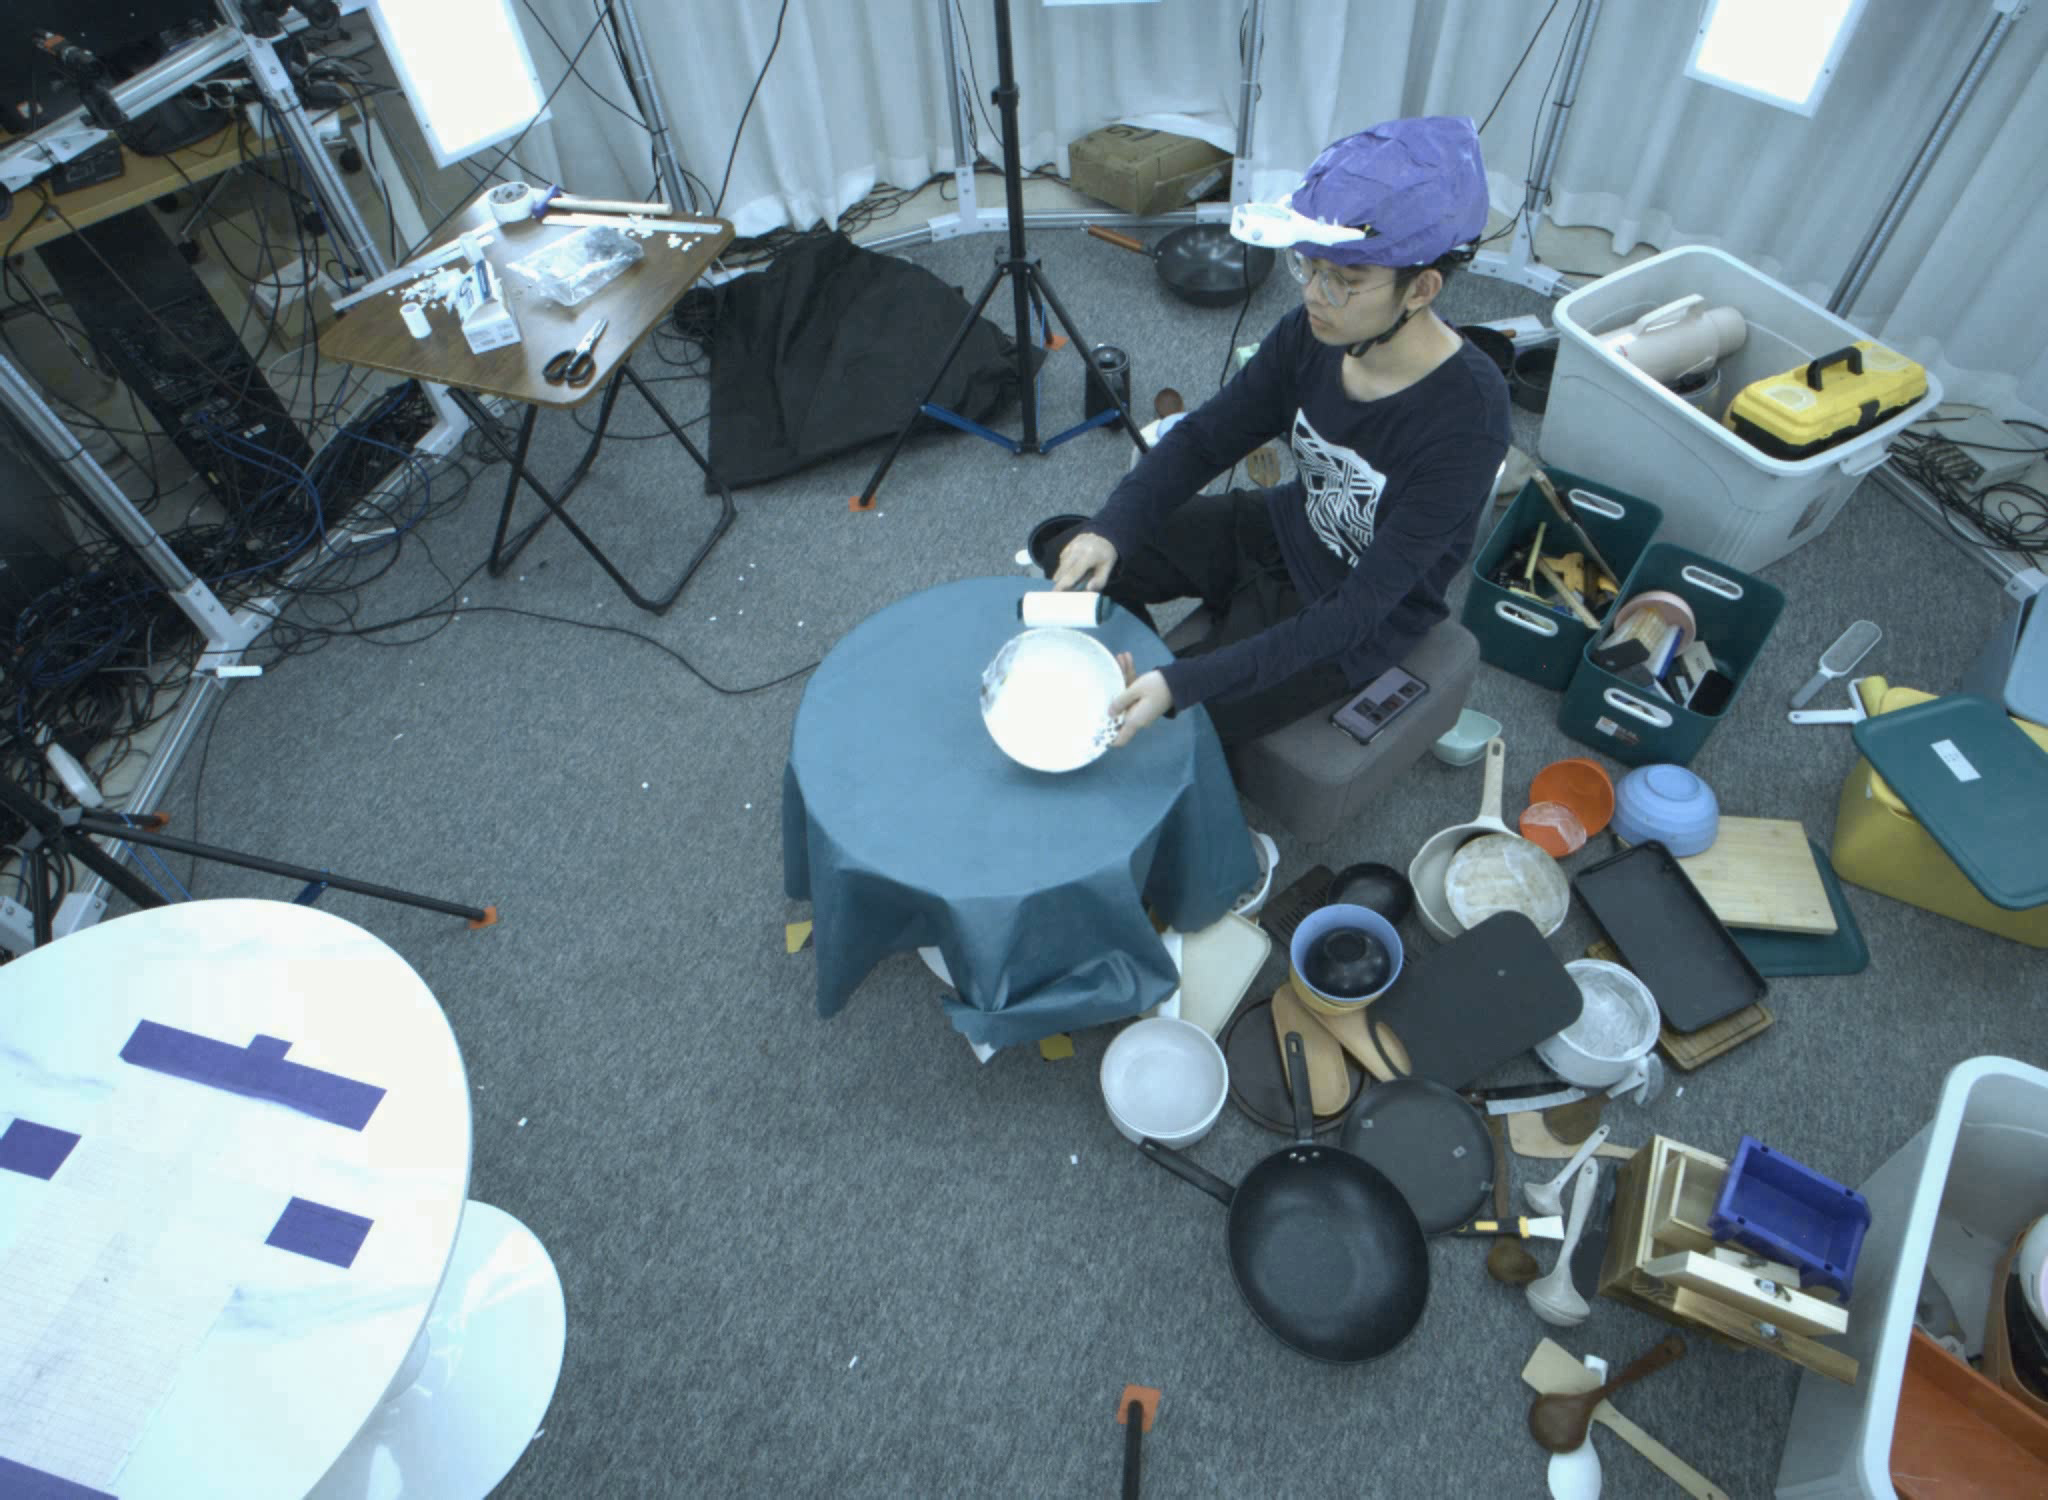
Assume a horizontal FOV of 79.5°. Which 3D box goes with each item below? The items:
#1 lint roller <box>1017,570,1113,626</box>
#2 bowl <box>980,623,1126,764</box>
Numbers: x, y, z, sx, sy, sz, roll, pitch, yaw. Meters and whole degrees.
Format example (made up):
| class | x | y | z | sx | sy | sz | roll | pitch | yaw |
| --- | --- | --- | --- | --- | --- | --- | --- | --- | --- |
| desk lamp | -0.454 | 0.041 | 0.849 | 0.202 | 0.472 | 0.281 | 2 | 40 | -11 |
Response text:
| class | x | y | z | sx | sy | sz | roll | pitch | yaw |
| --- | --- | --- | --- | --- | --- | --- | --- | --- | --- |
| lint roller | 0.070 | -0.231 | 1.725 | 0.133 | 0.049 | 0.179 | 4 | 35 | 12 |
| bowl | 0.040 | -0.088 | 1.740 | 0.204 | 0.205 | 0.077 | -4 | 19 | -1 |
